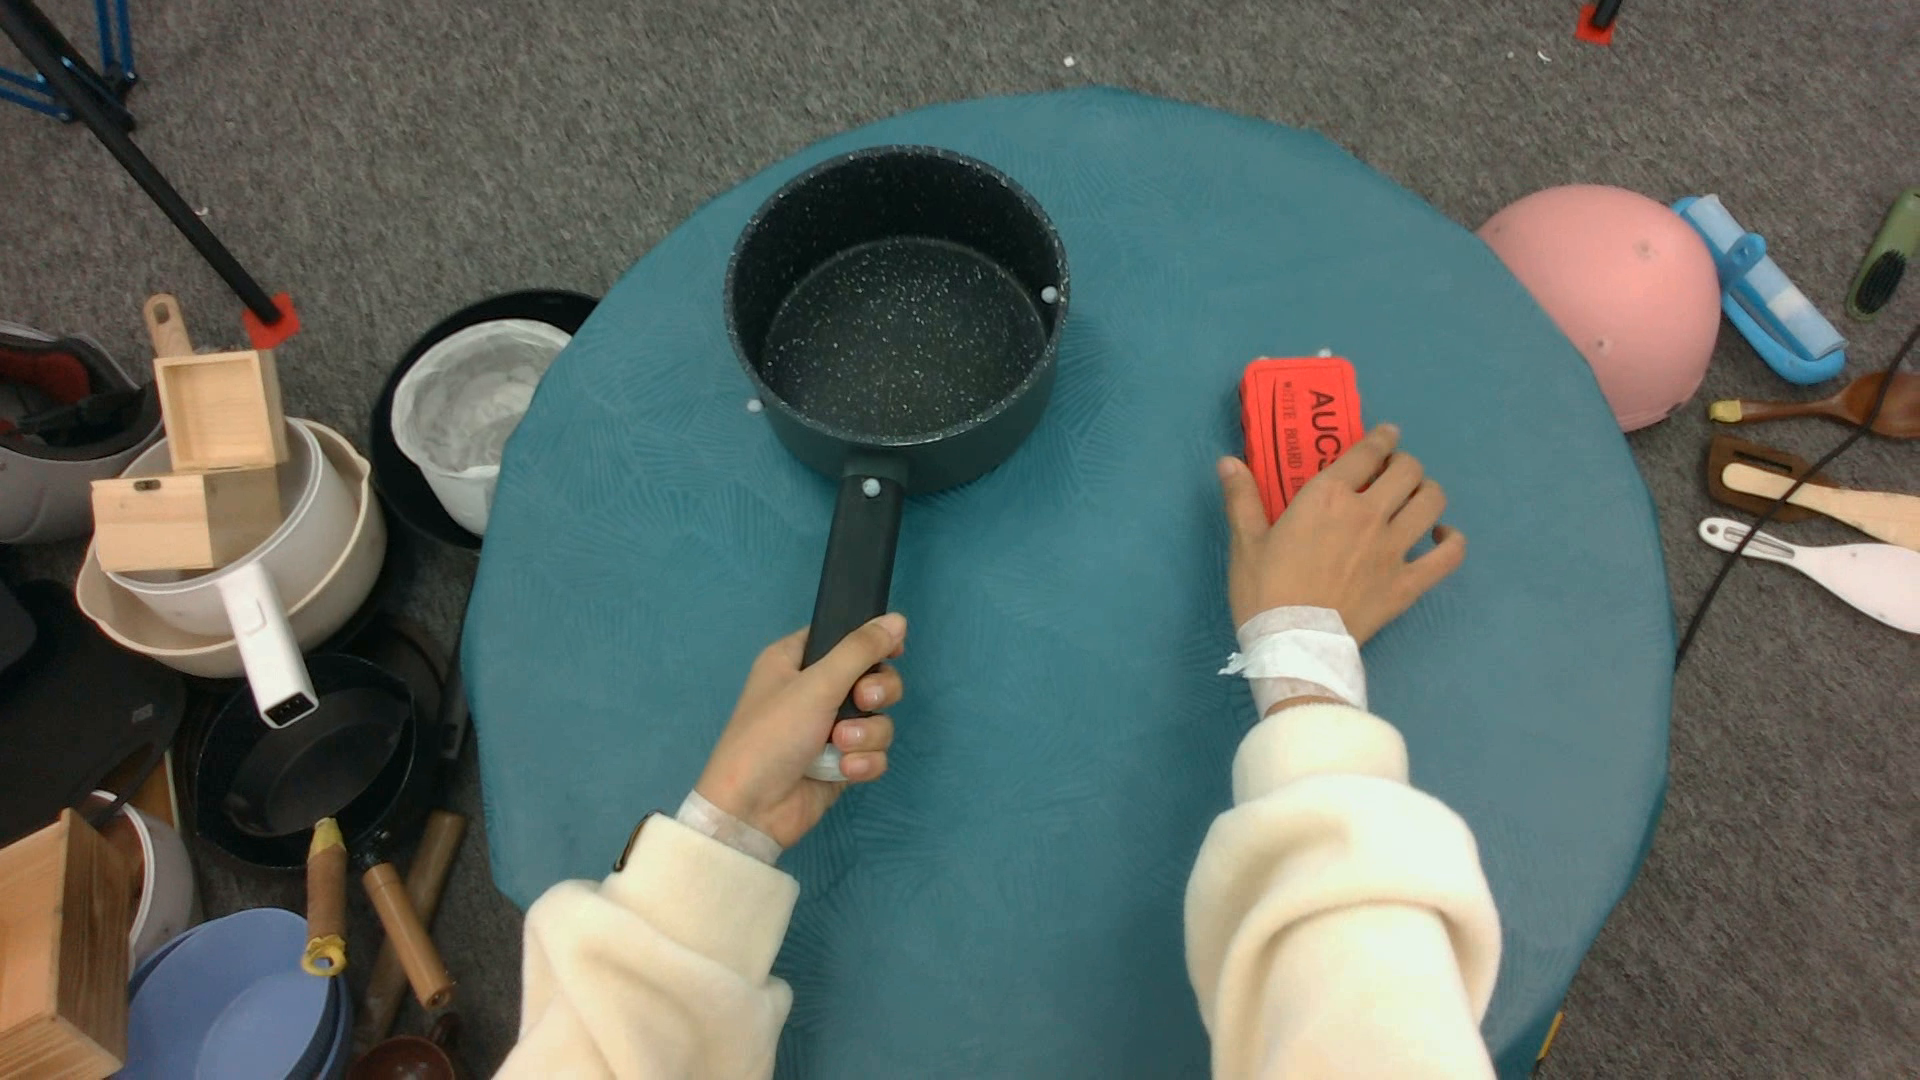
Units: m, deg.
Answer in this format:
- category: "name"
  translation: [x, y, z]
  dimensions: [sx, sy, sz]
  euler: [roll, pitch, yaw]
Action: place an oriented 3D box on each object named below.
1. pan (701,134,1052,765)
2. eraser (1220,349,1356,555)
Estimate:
- category: "pan"
  translation: [-0.051, -0.044, 0.675]
  dimensions: [0.172, 0.086, 0.330]
  euler: [7, 66, 4]
- category: "eraser"
  translation: [0.167, -0.046, 0.705]
  dimensions: [0.059, 0.023, 0.108]
  euler: [0, 67, -1]
